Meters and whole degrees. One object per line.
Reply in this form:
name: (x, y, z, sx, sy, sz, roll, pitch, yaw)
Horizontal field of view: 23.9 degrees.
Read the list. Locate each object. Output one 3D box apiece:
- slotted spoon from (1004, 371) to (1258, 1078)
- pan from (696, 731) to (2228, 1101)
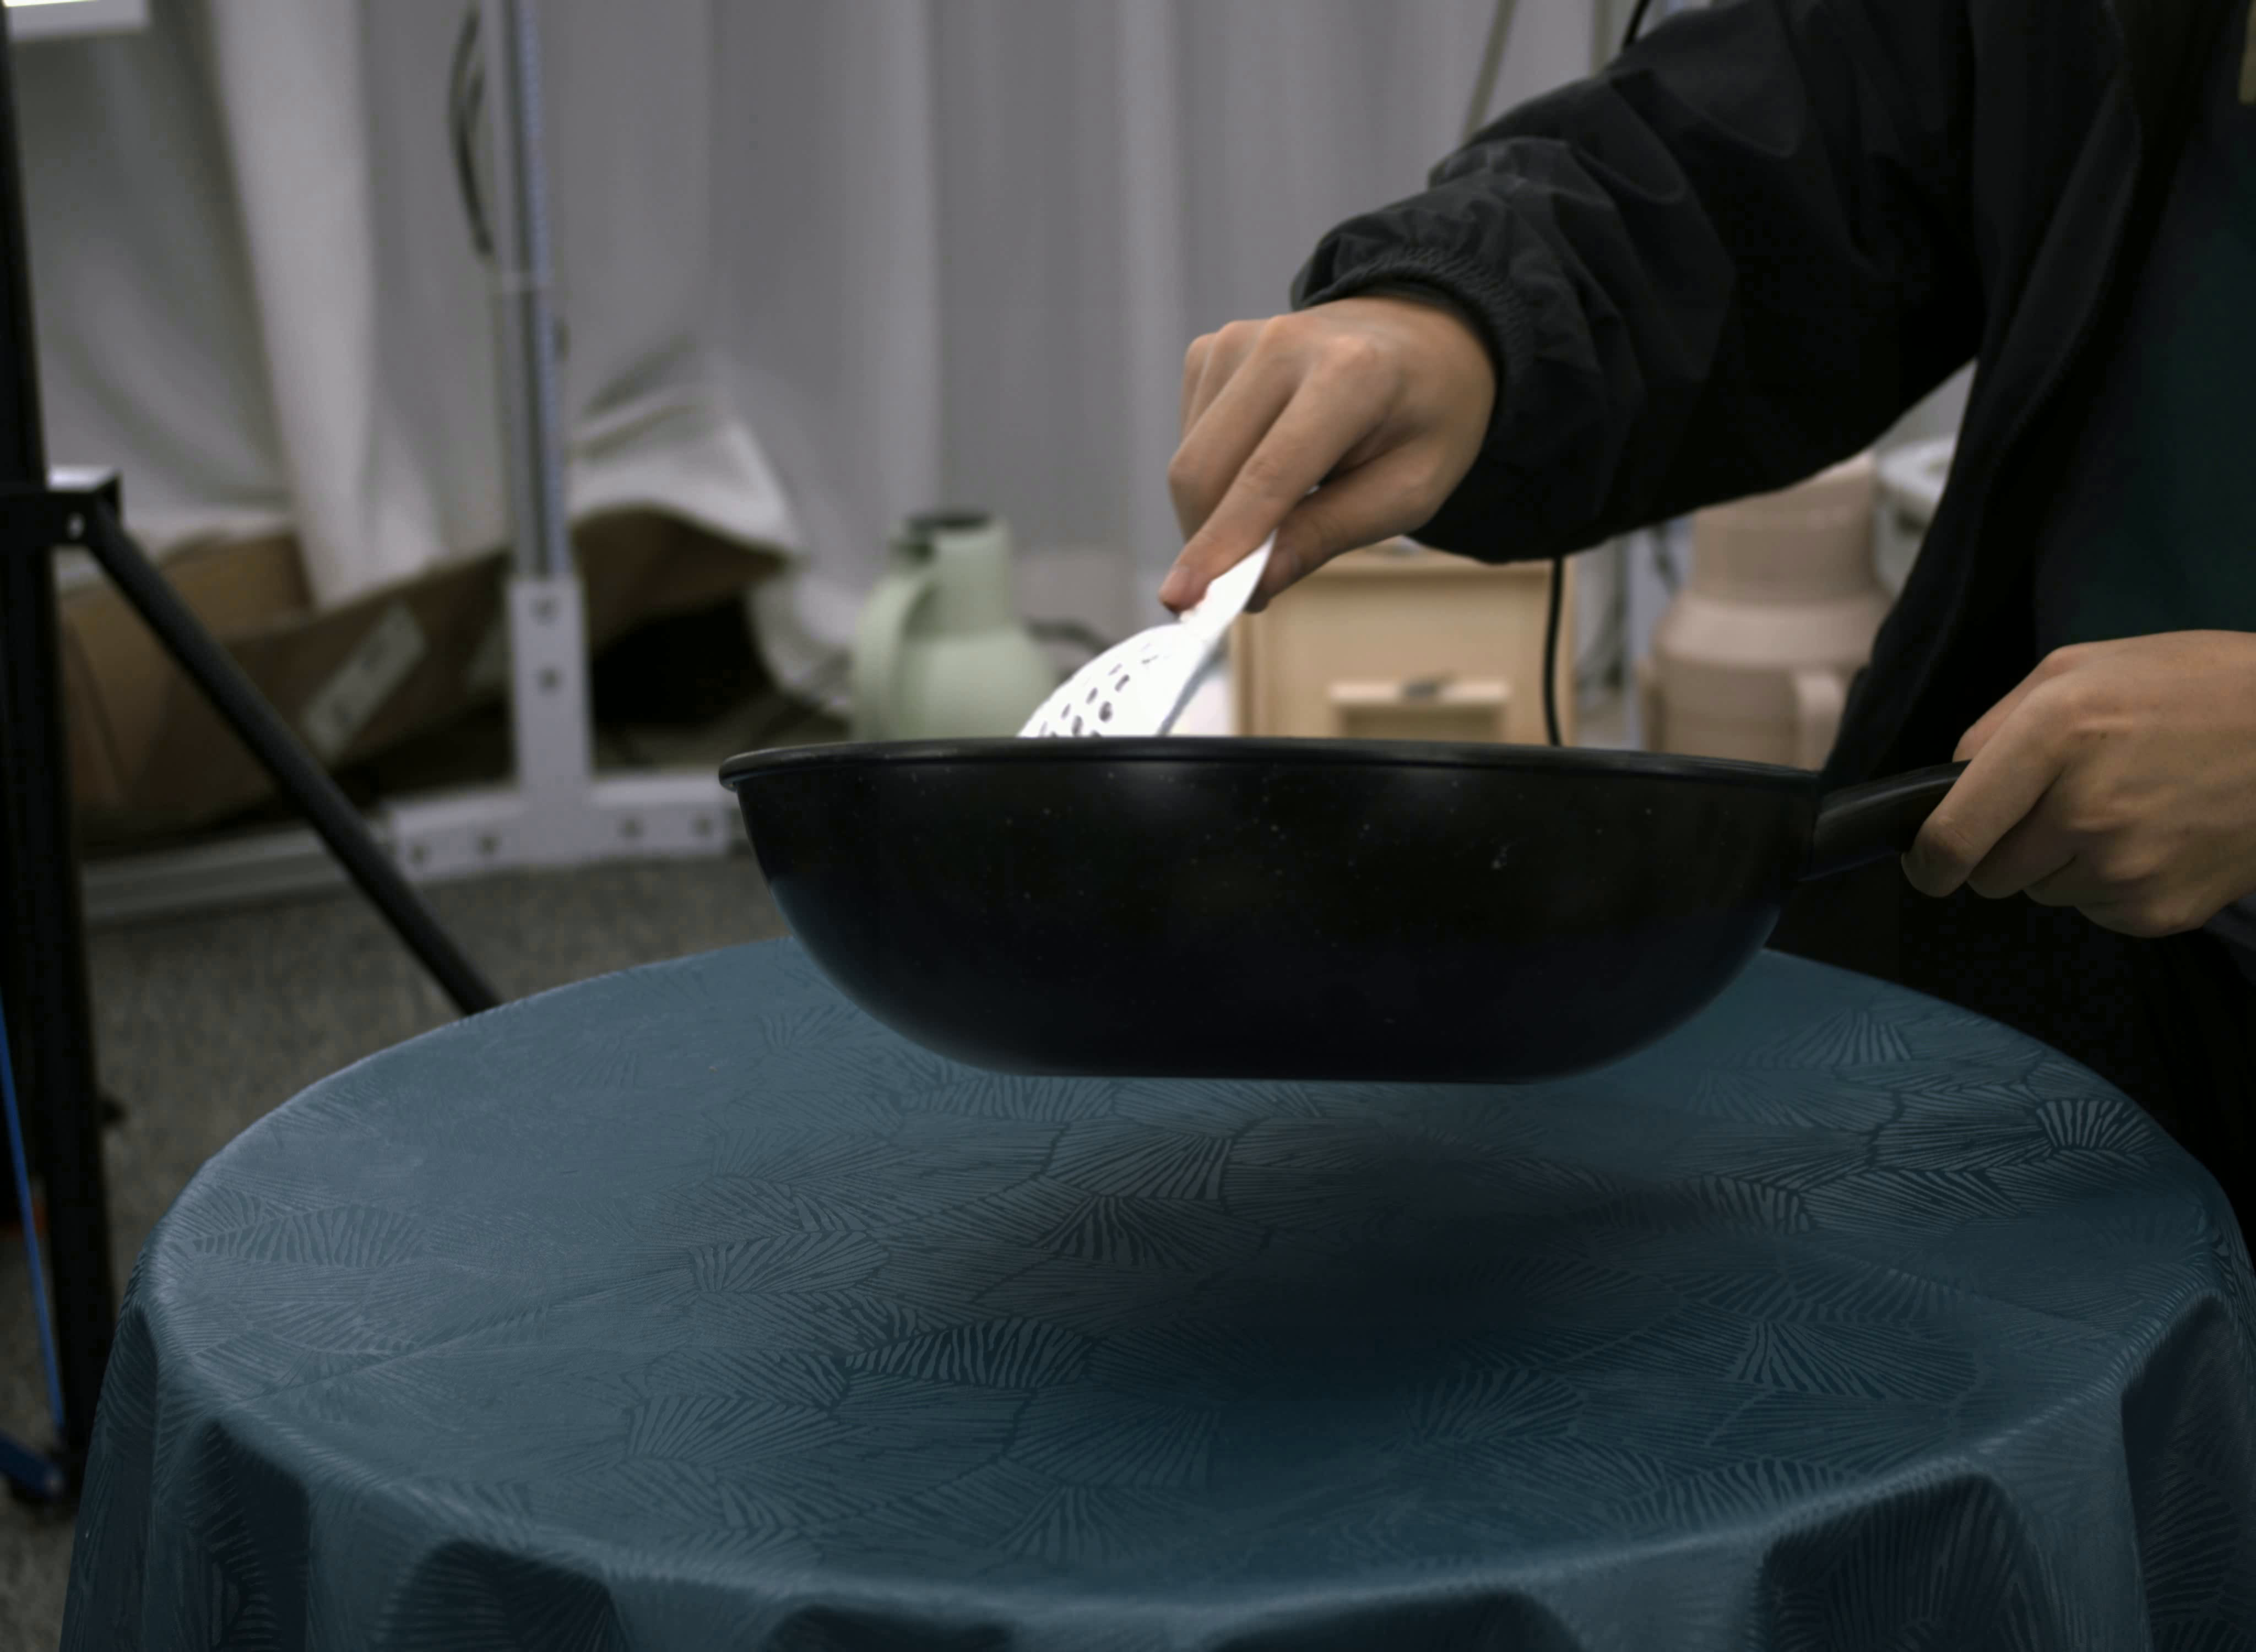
slotted spoon: (0.008, -0.050, 1.569, 0.050, 0.137, 0.346, 25, 30, 3)
pan: (0.110, 0.021, 1.490, 0.467, 0.112, 0.315, 2, -2, -23)
